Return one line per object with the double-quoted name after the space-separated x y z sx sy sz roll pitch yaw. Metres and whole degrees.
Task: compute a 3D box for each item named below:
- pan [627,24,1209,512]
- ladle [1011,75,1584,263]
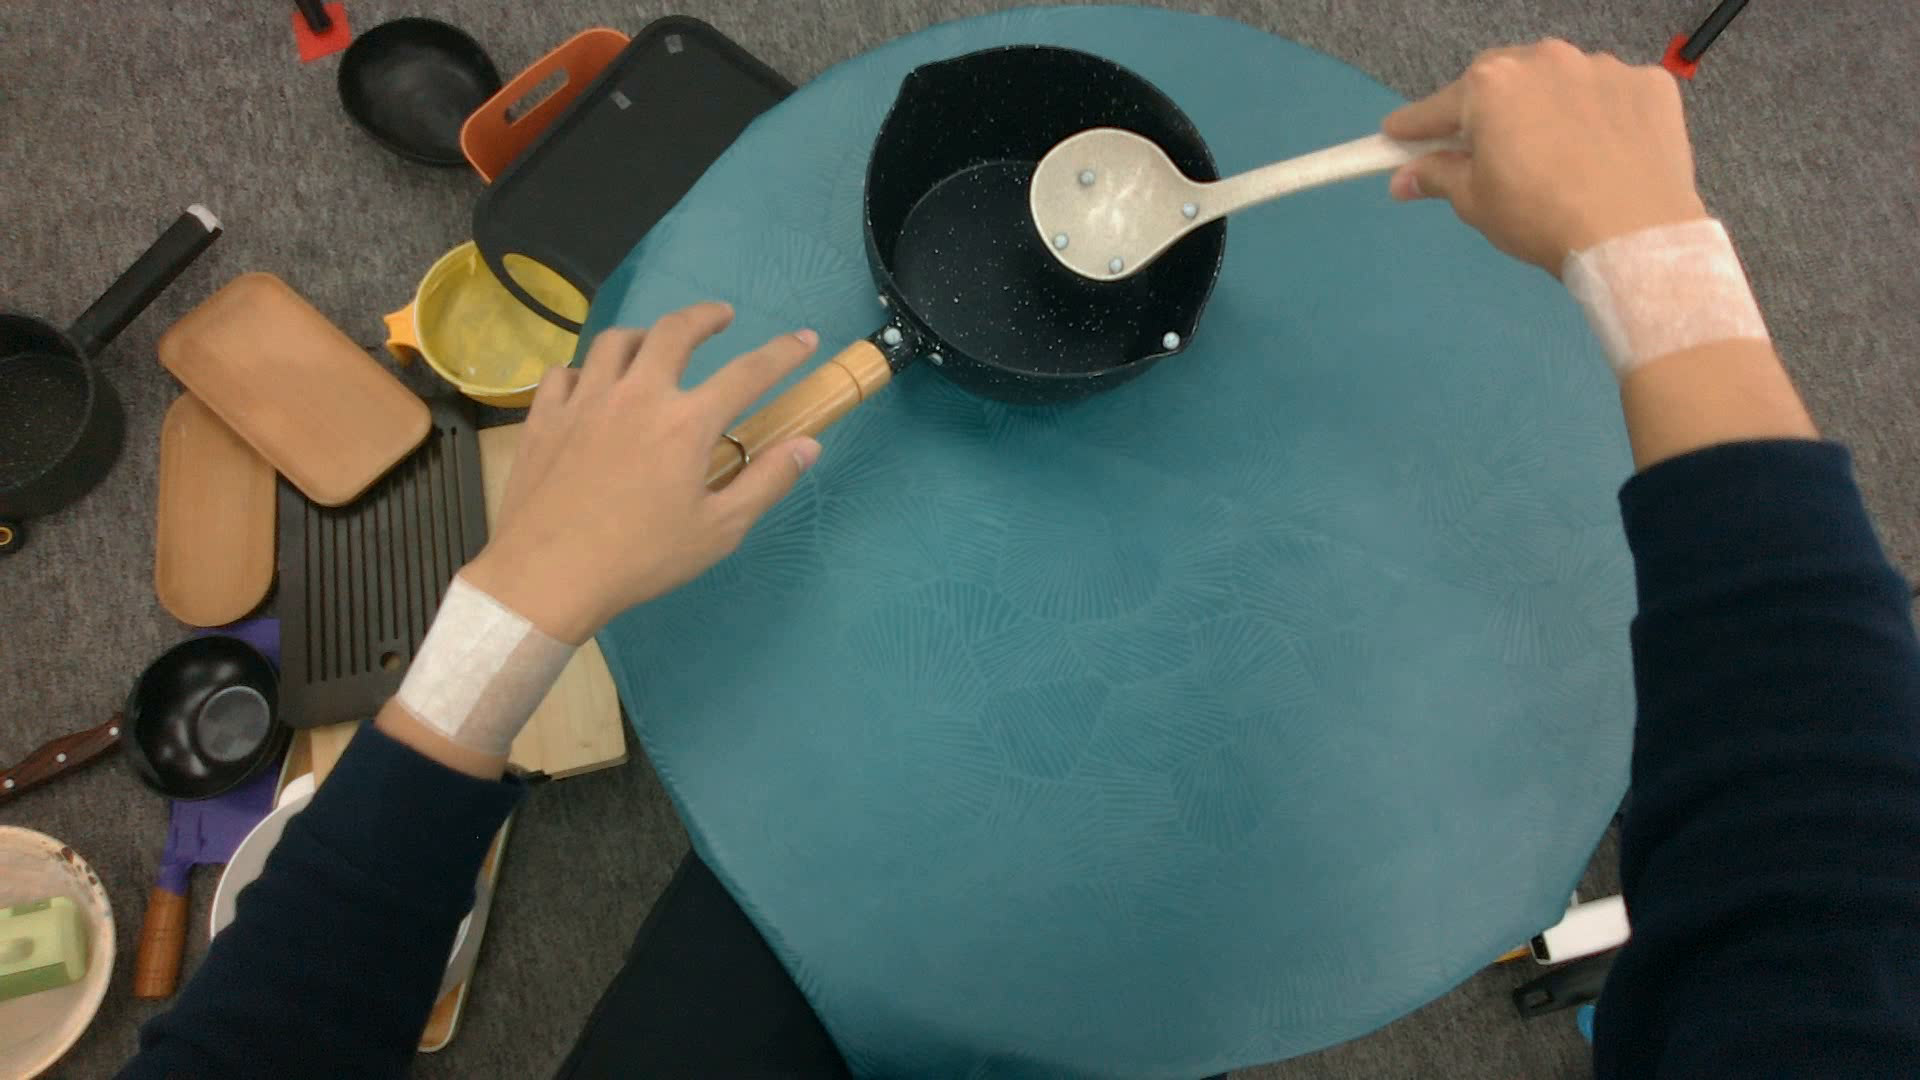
-0.024 -0.116 0.694 0.207 0.108 0.344 45 73 5 "pan"
0.141 -0.191 0.646 0.069 0.274 0.089 35 64 -35 "ladle"
